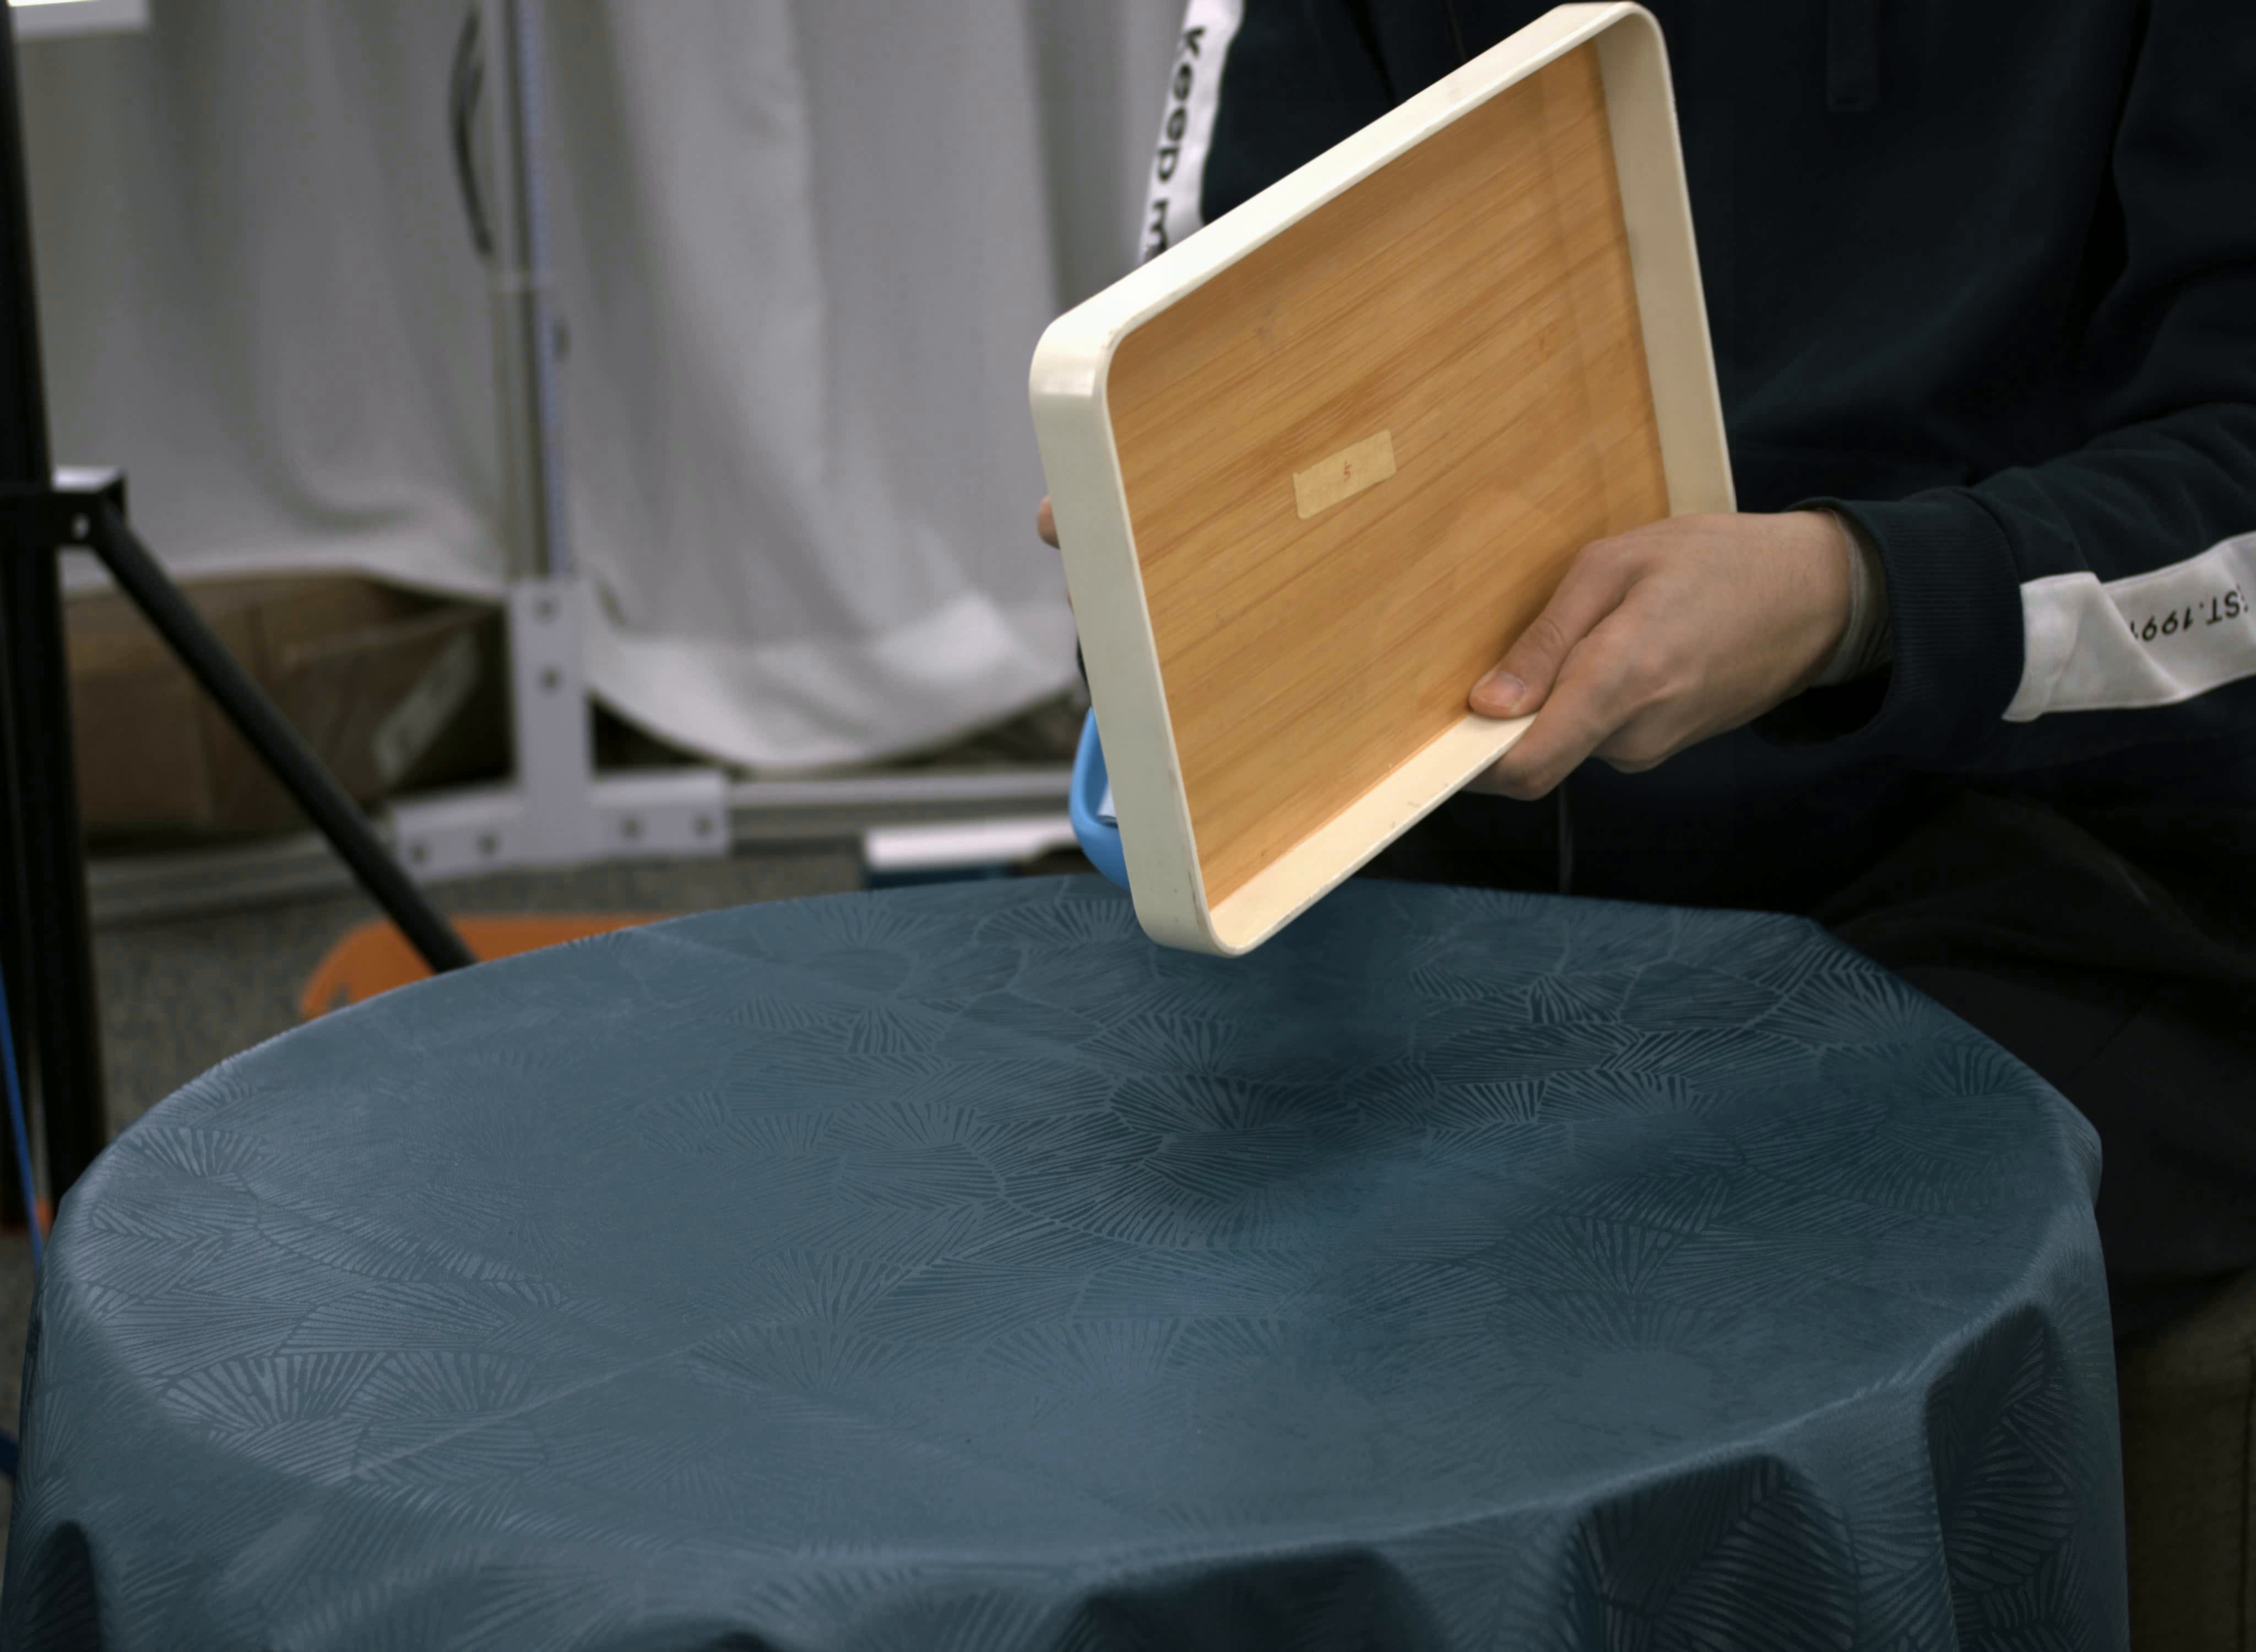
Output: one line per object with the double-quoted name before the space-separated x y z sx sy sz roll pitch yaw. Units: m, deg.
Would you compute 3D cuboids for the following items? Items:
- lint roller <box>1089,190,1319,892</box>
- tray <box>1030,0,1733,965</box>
"lint roller" 0.039 -0.079 1.656 0.067 0.230 0.181 17 -9 -8
"tray" 0.081 -0.105 1.543 0.028 0.190 0.295 6 28 37
